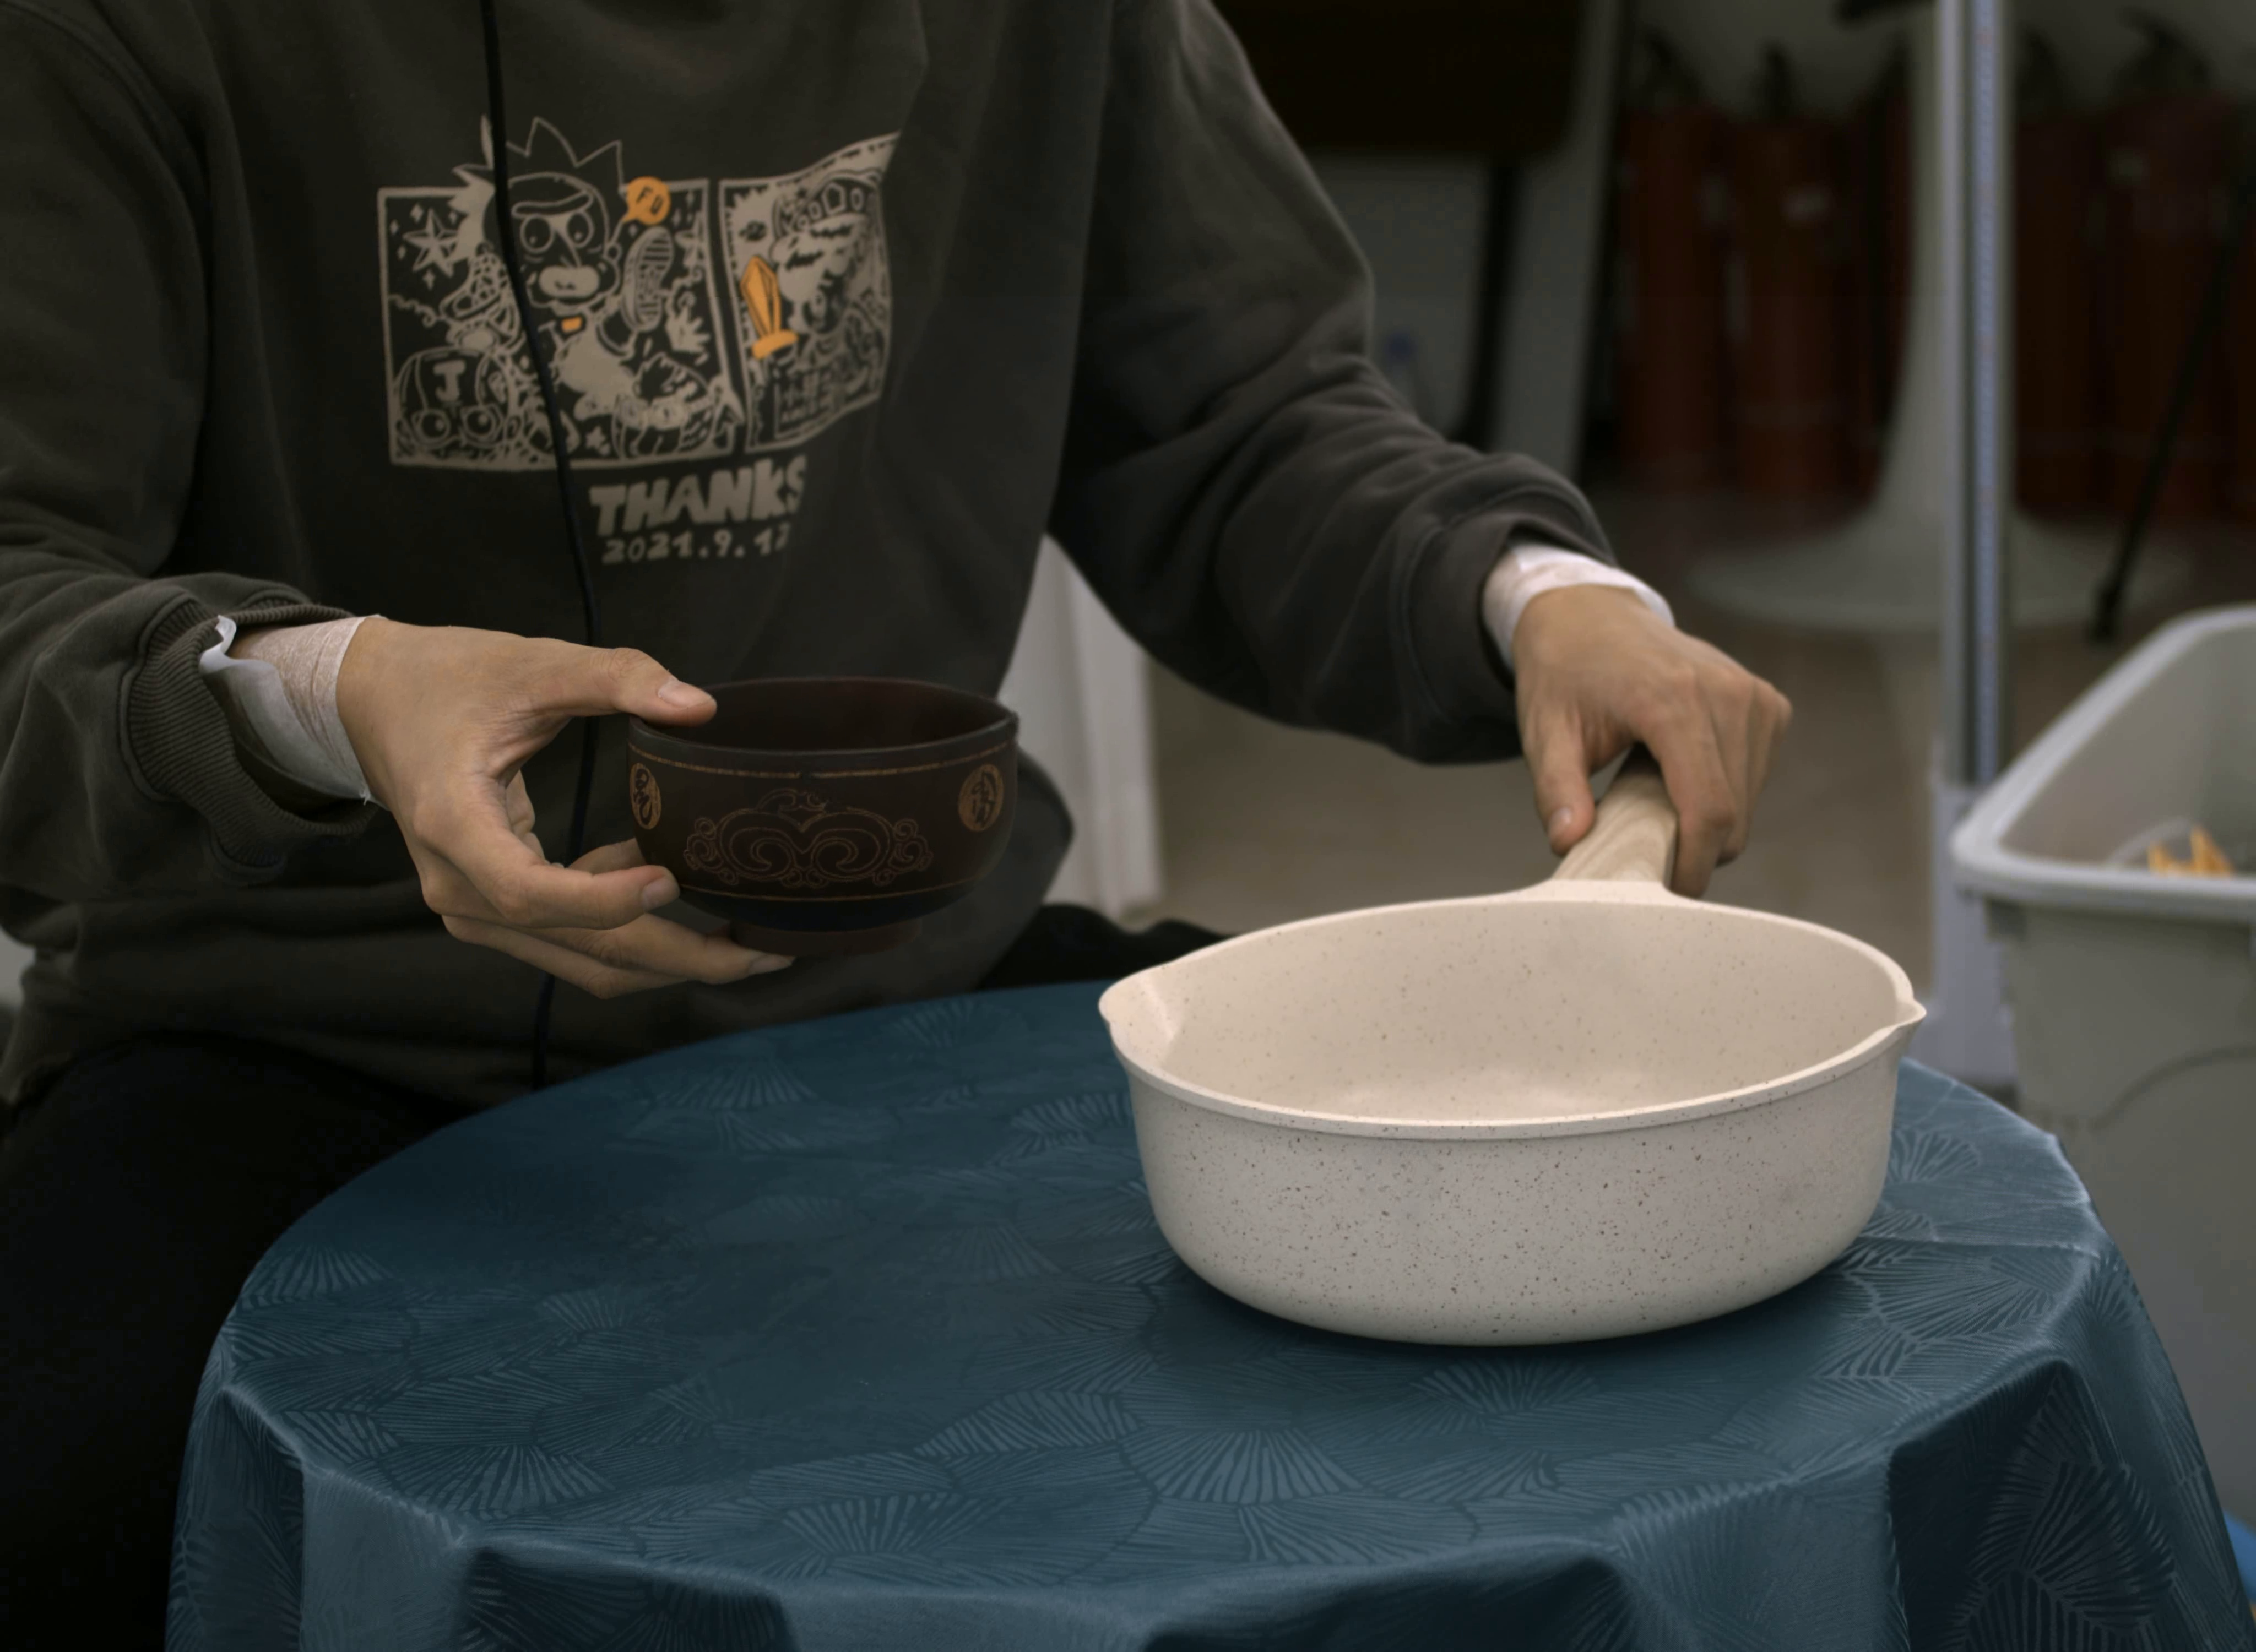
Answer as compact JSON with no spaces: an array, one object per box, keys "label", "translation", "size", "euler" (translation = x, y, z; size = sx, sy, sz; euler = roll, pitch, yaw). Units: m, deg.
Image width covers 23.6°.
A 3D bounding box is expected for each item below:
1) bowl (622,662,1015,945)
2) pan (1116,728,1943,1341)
[{"label":"bowl","translation":[-0.091,-0.005,1.601],"size":[0.116,0.070,0.118],"euler":[-3,11,0]},{"label":"pan","translation":[0.151,0.064,1.760],"size":[0.262,0.103,0.431],"euler":[-2,13,18]}]
